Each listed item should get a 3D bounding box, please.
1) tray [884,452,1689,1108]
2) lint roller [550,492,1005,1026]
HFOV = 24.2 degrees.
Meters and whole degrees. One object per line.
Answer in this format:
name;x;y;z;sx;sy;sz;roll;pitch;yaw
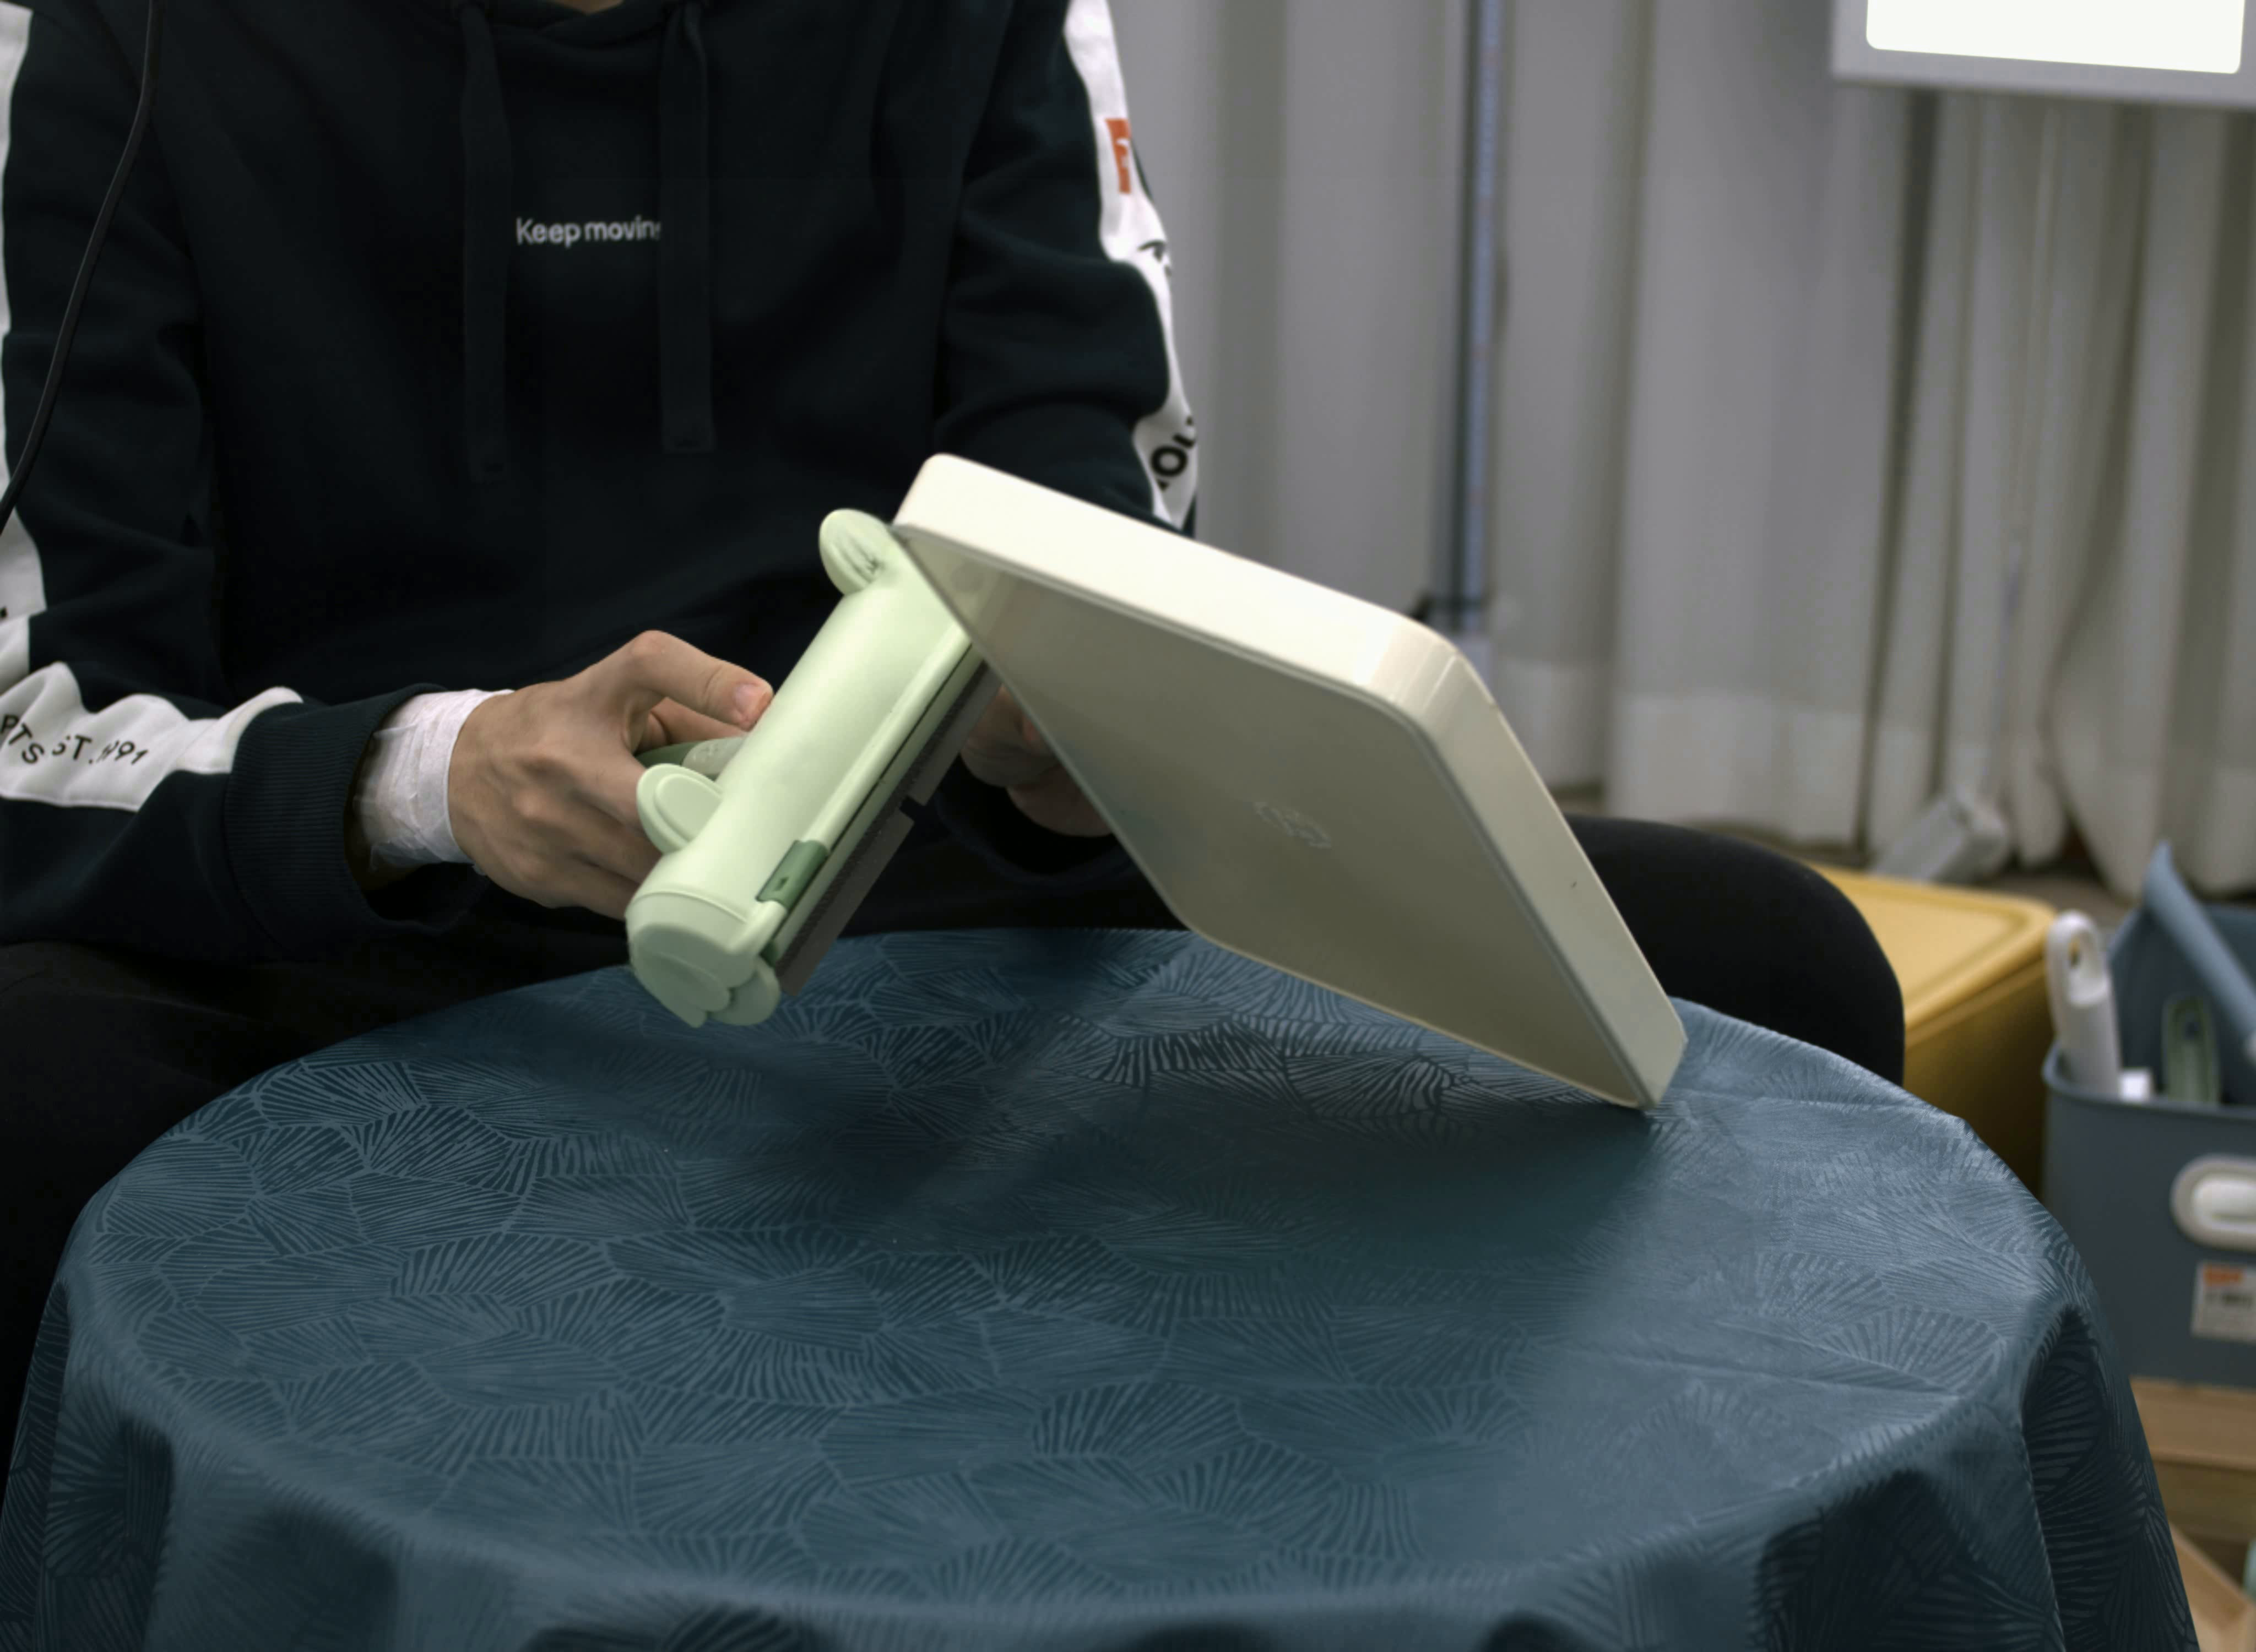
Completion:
tray;0.054;-0.008;1.613;0.189;0.027;0.304;20;-18;28
lint roller;-0.133;-0.026;1.650;0.181;0.083;0.198;-3;42;41
